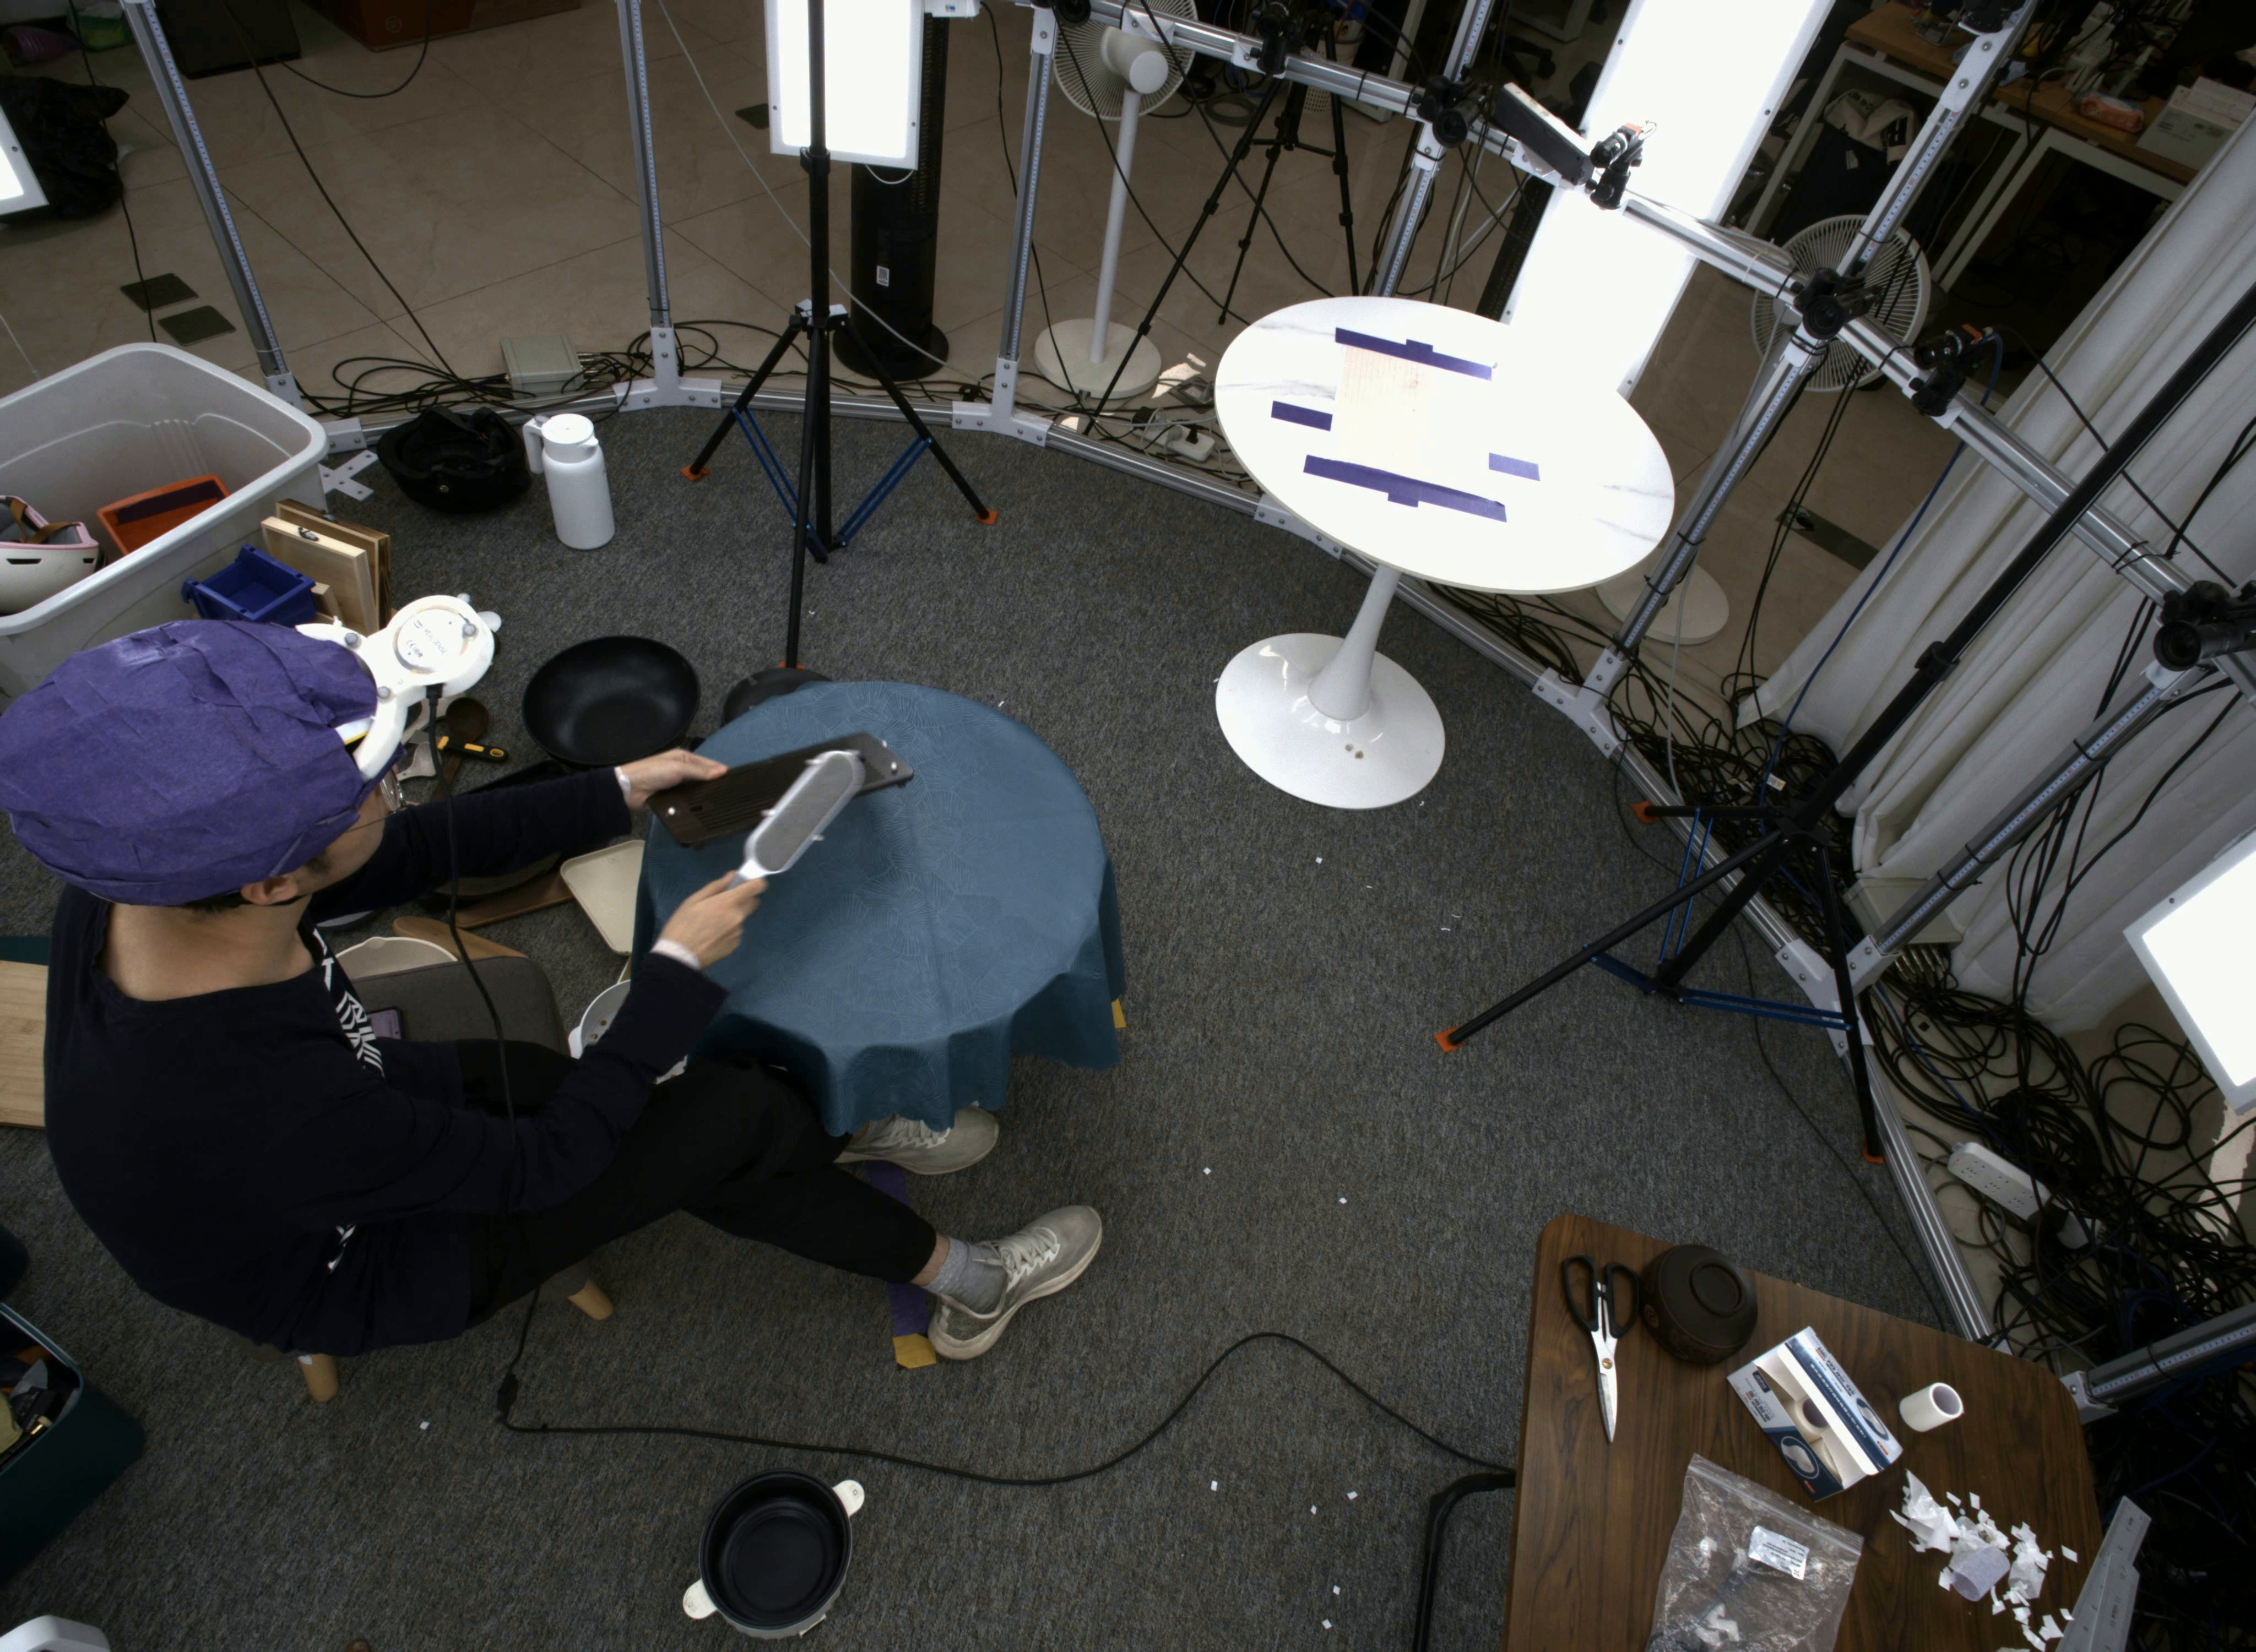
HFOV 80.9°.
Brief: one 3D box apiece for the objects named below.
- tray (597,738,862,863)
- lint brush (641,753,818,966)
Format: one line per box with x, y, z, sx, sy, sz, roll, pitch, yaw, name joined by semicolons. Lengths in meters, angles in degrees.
-0.500;-0.036;1.616;0.308;0.019;0.163;-22;34;-30;tray
-0.472;0.035;1.523;0.062;0.020;0.308;47;66;-29;lint brush
